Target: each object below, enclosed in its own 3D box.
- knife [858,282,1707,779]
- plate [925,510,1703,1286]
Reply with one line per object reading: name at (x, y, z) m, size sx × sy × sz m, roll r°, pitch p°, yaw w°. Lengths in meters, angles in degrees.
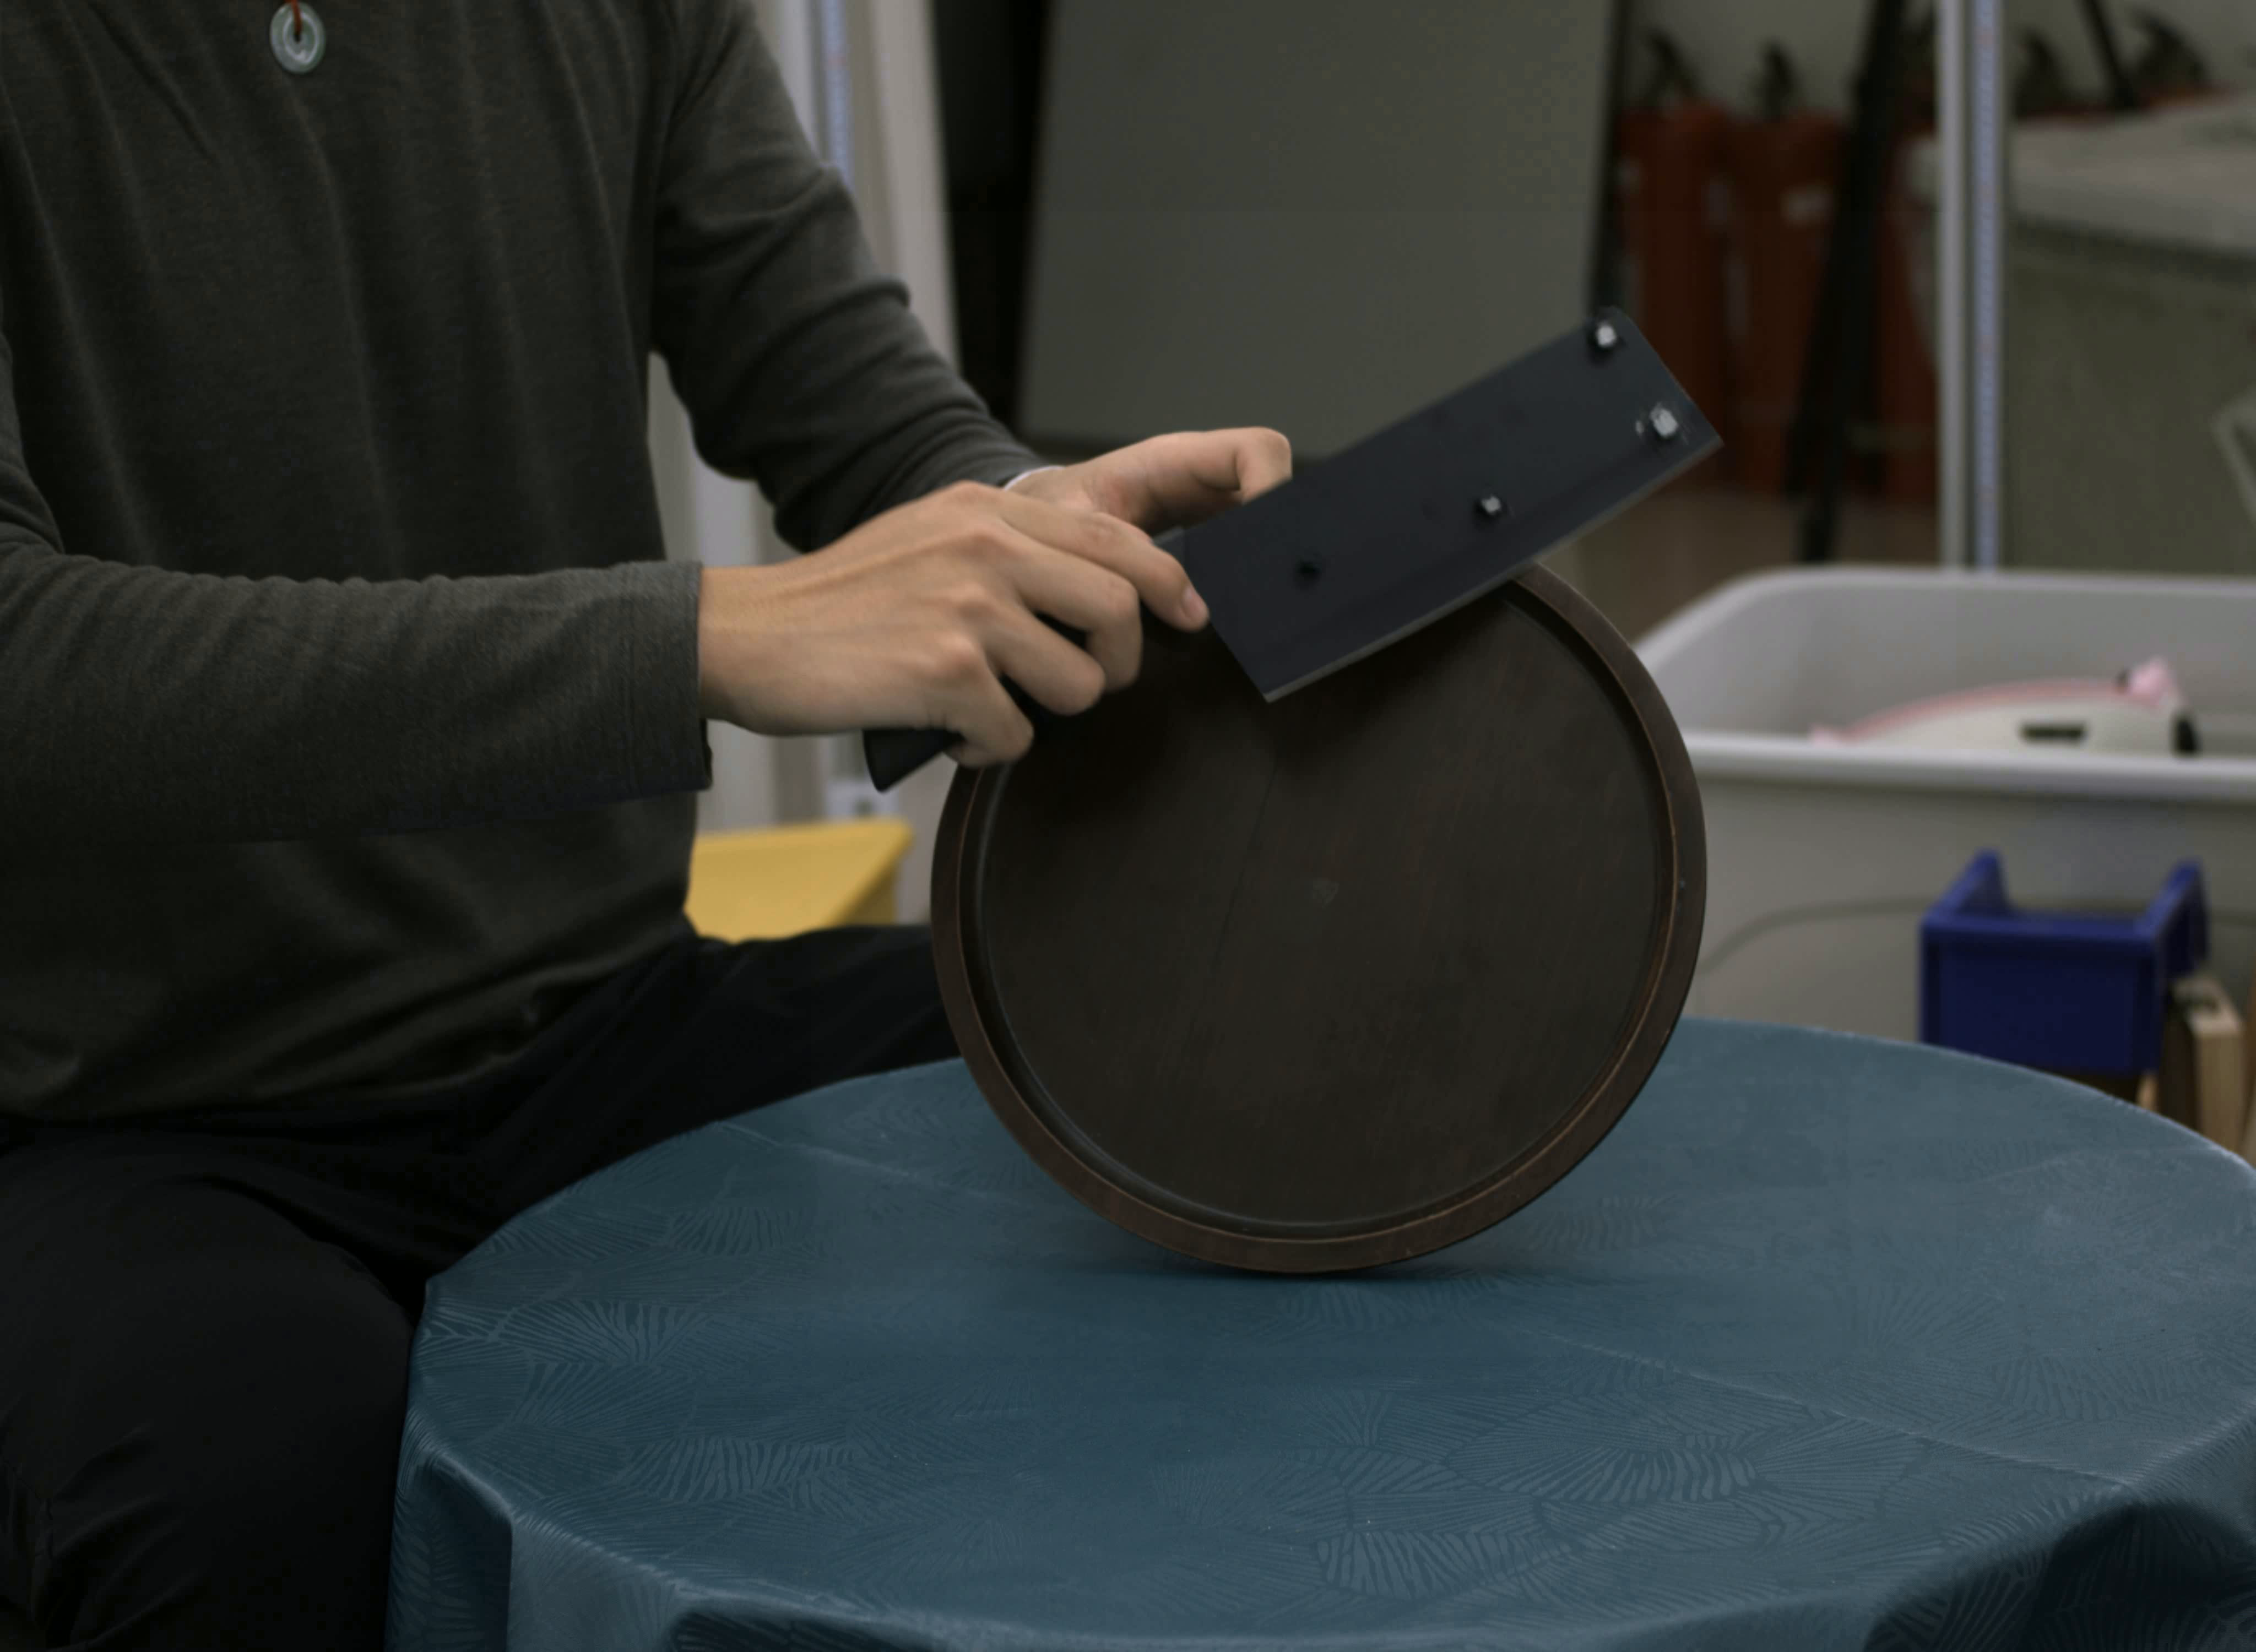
knife at (0.047, -0.087, 1.706) m, size 0.298 × 0.082 × 0.021 m, roll -25°, pitch -27°, yaw -13°
plate at (0.058, 0.020, 1.711) m, size 0.253 × 0.258 × 0.029 m, roll 0°, pitch -13°, yaw 15°
